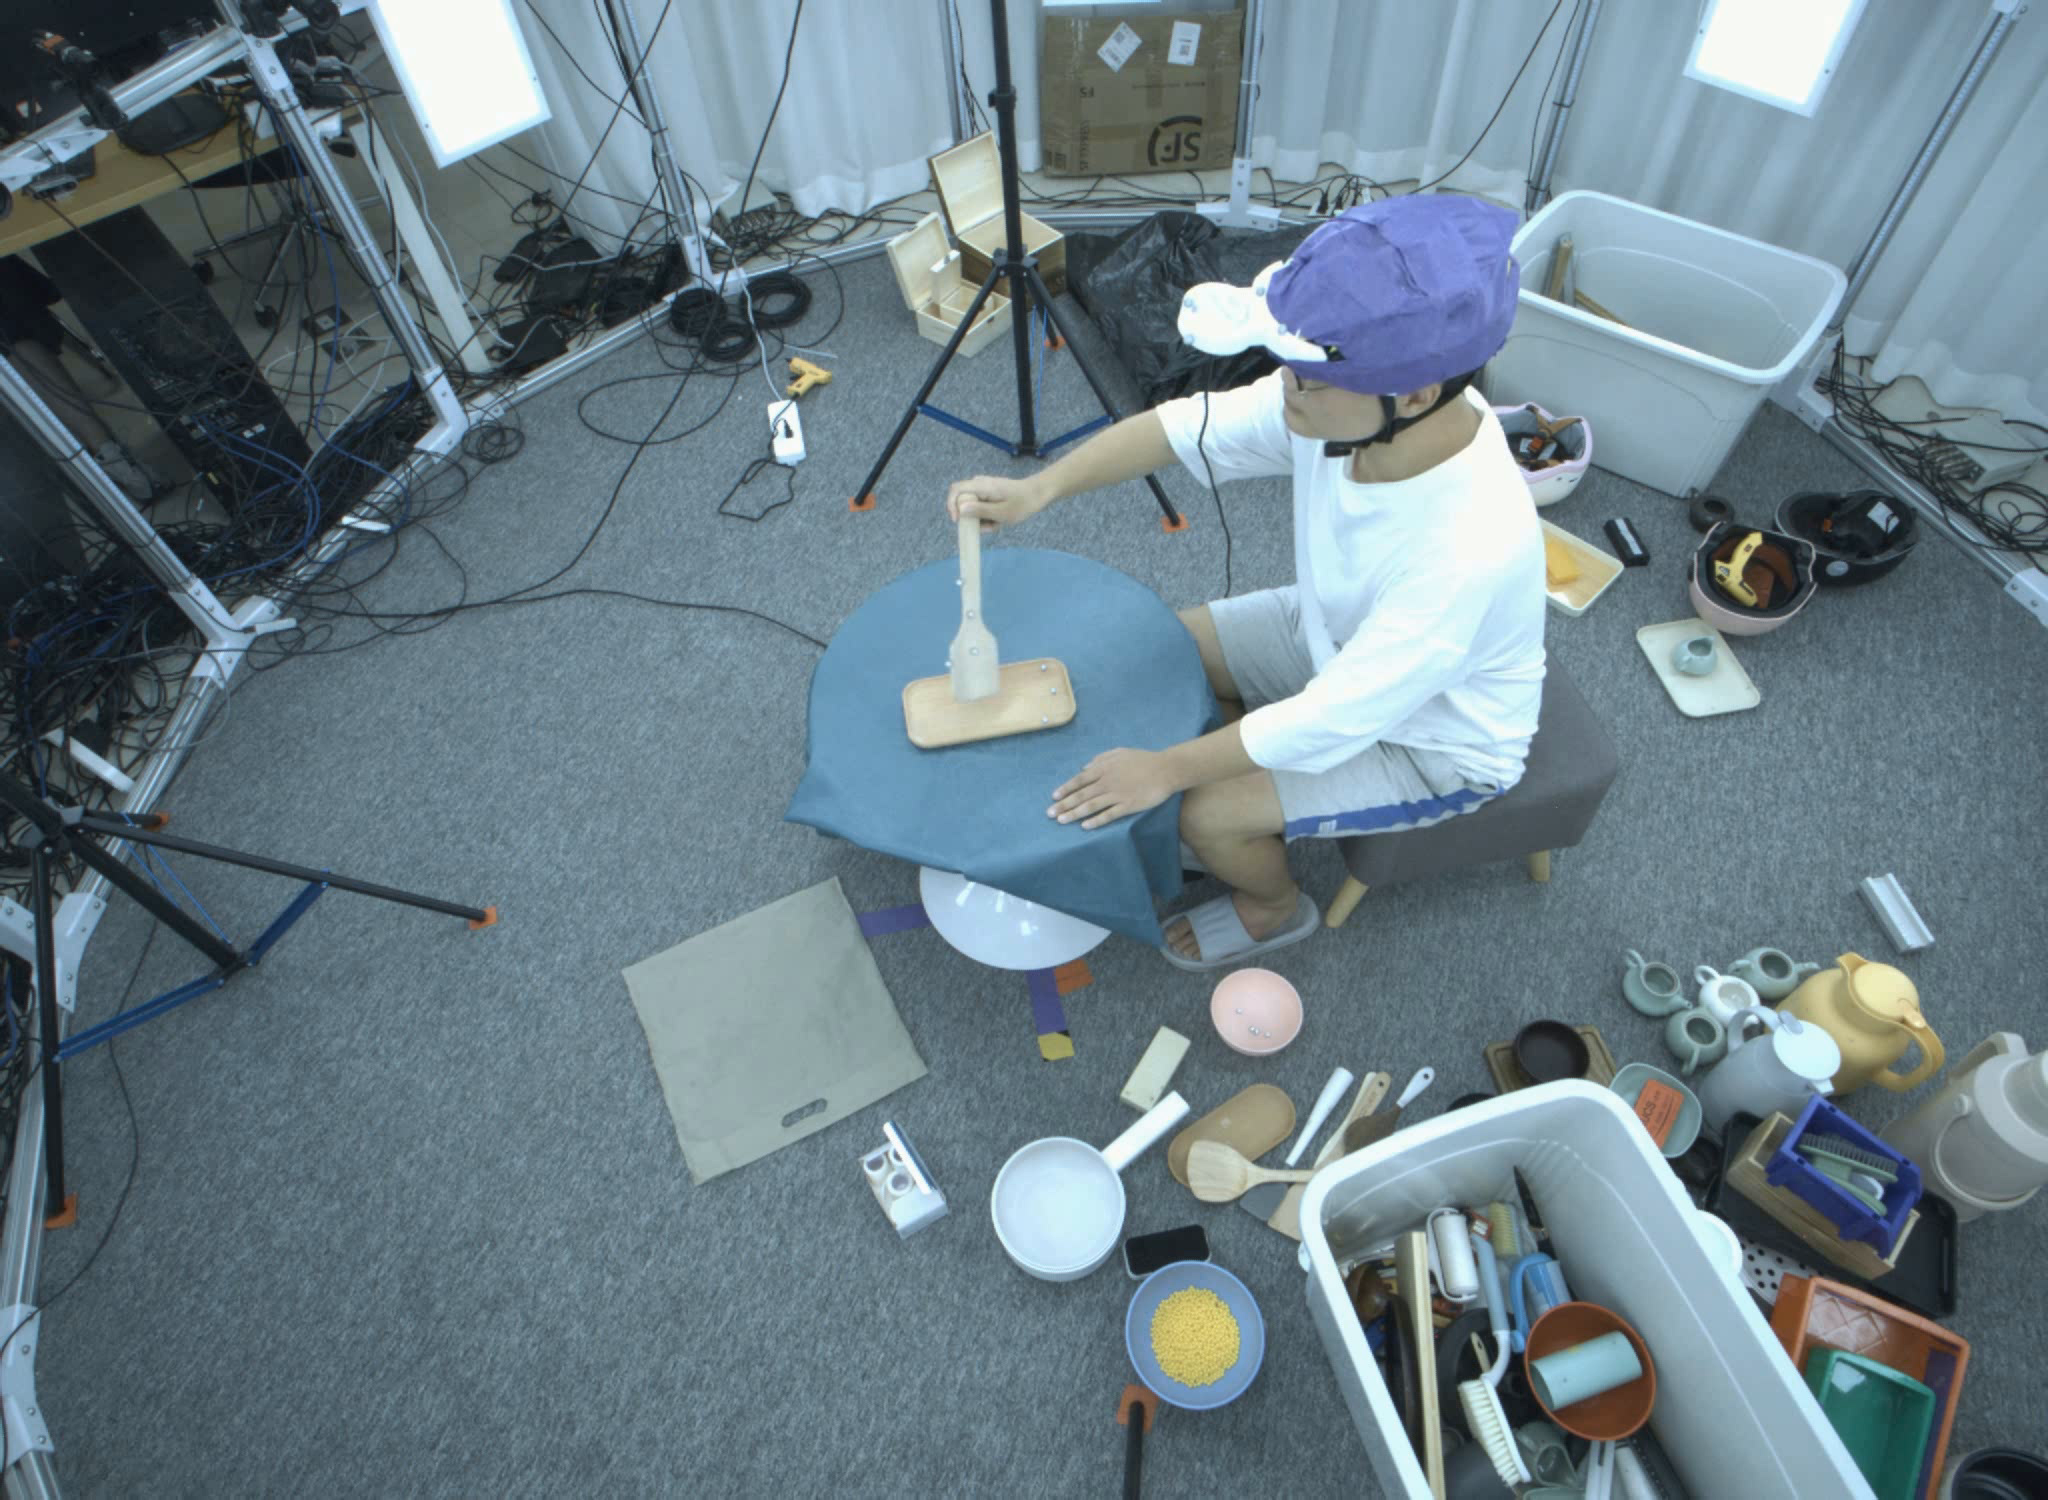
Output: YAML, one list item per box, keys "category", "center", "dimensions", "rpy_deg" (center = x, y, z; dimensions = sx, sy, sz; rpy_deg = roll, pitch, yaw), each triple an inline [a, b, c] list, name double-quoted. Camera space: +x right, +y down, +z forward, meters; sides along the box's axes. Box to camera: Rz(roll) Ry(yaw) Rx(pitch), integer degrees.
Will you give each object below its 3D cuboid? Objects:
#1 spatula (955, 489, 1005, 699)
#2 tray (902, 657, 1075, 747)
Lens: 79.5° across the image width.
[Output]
- category: "spatula"
  center: [-0.066, -0.205, 1.632]
  dimensions: [0.073, 0.296, 0.010]
  rpy_deg: [-17, 32, -22]
- category: "tray"
  center: [-0.054, -0.071, 1.827]
  dimensions: [0.251, 0.023, 0.128]
  rpy_deg: [-9, 52, -4]
